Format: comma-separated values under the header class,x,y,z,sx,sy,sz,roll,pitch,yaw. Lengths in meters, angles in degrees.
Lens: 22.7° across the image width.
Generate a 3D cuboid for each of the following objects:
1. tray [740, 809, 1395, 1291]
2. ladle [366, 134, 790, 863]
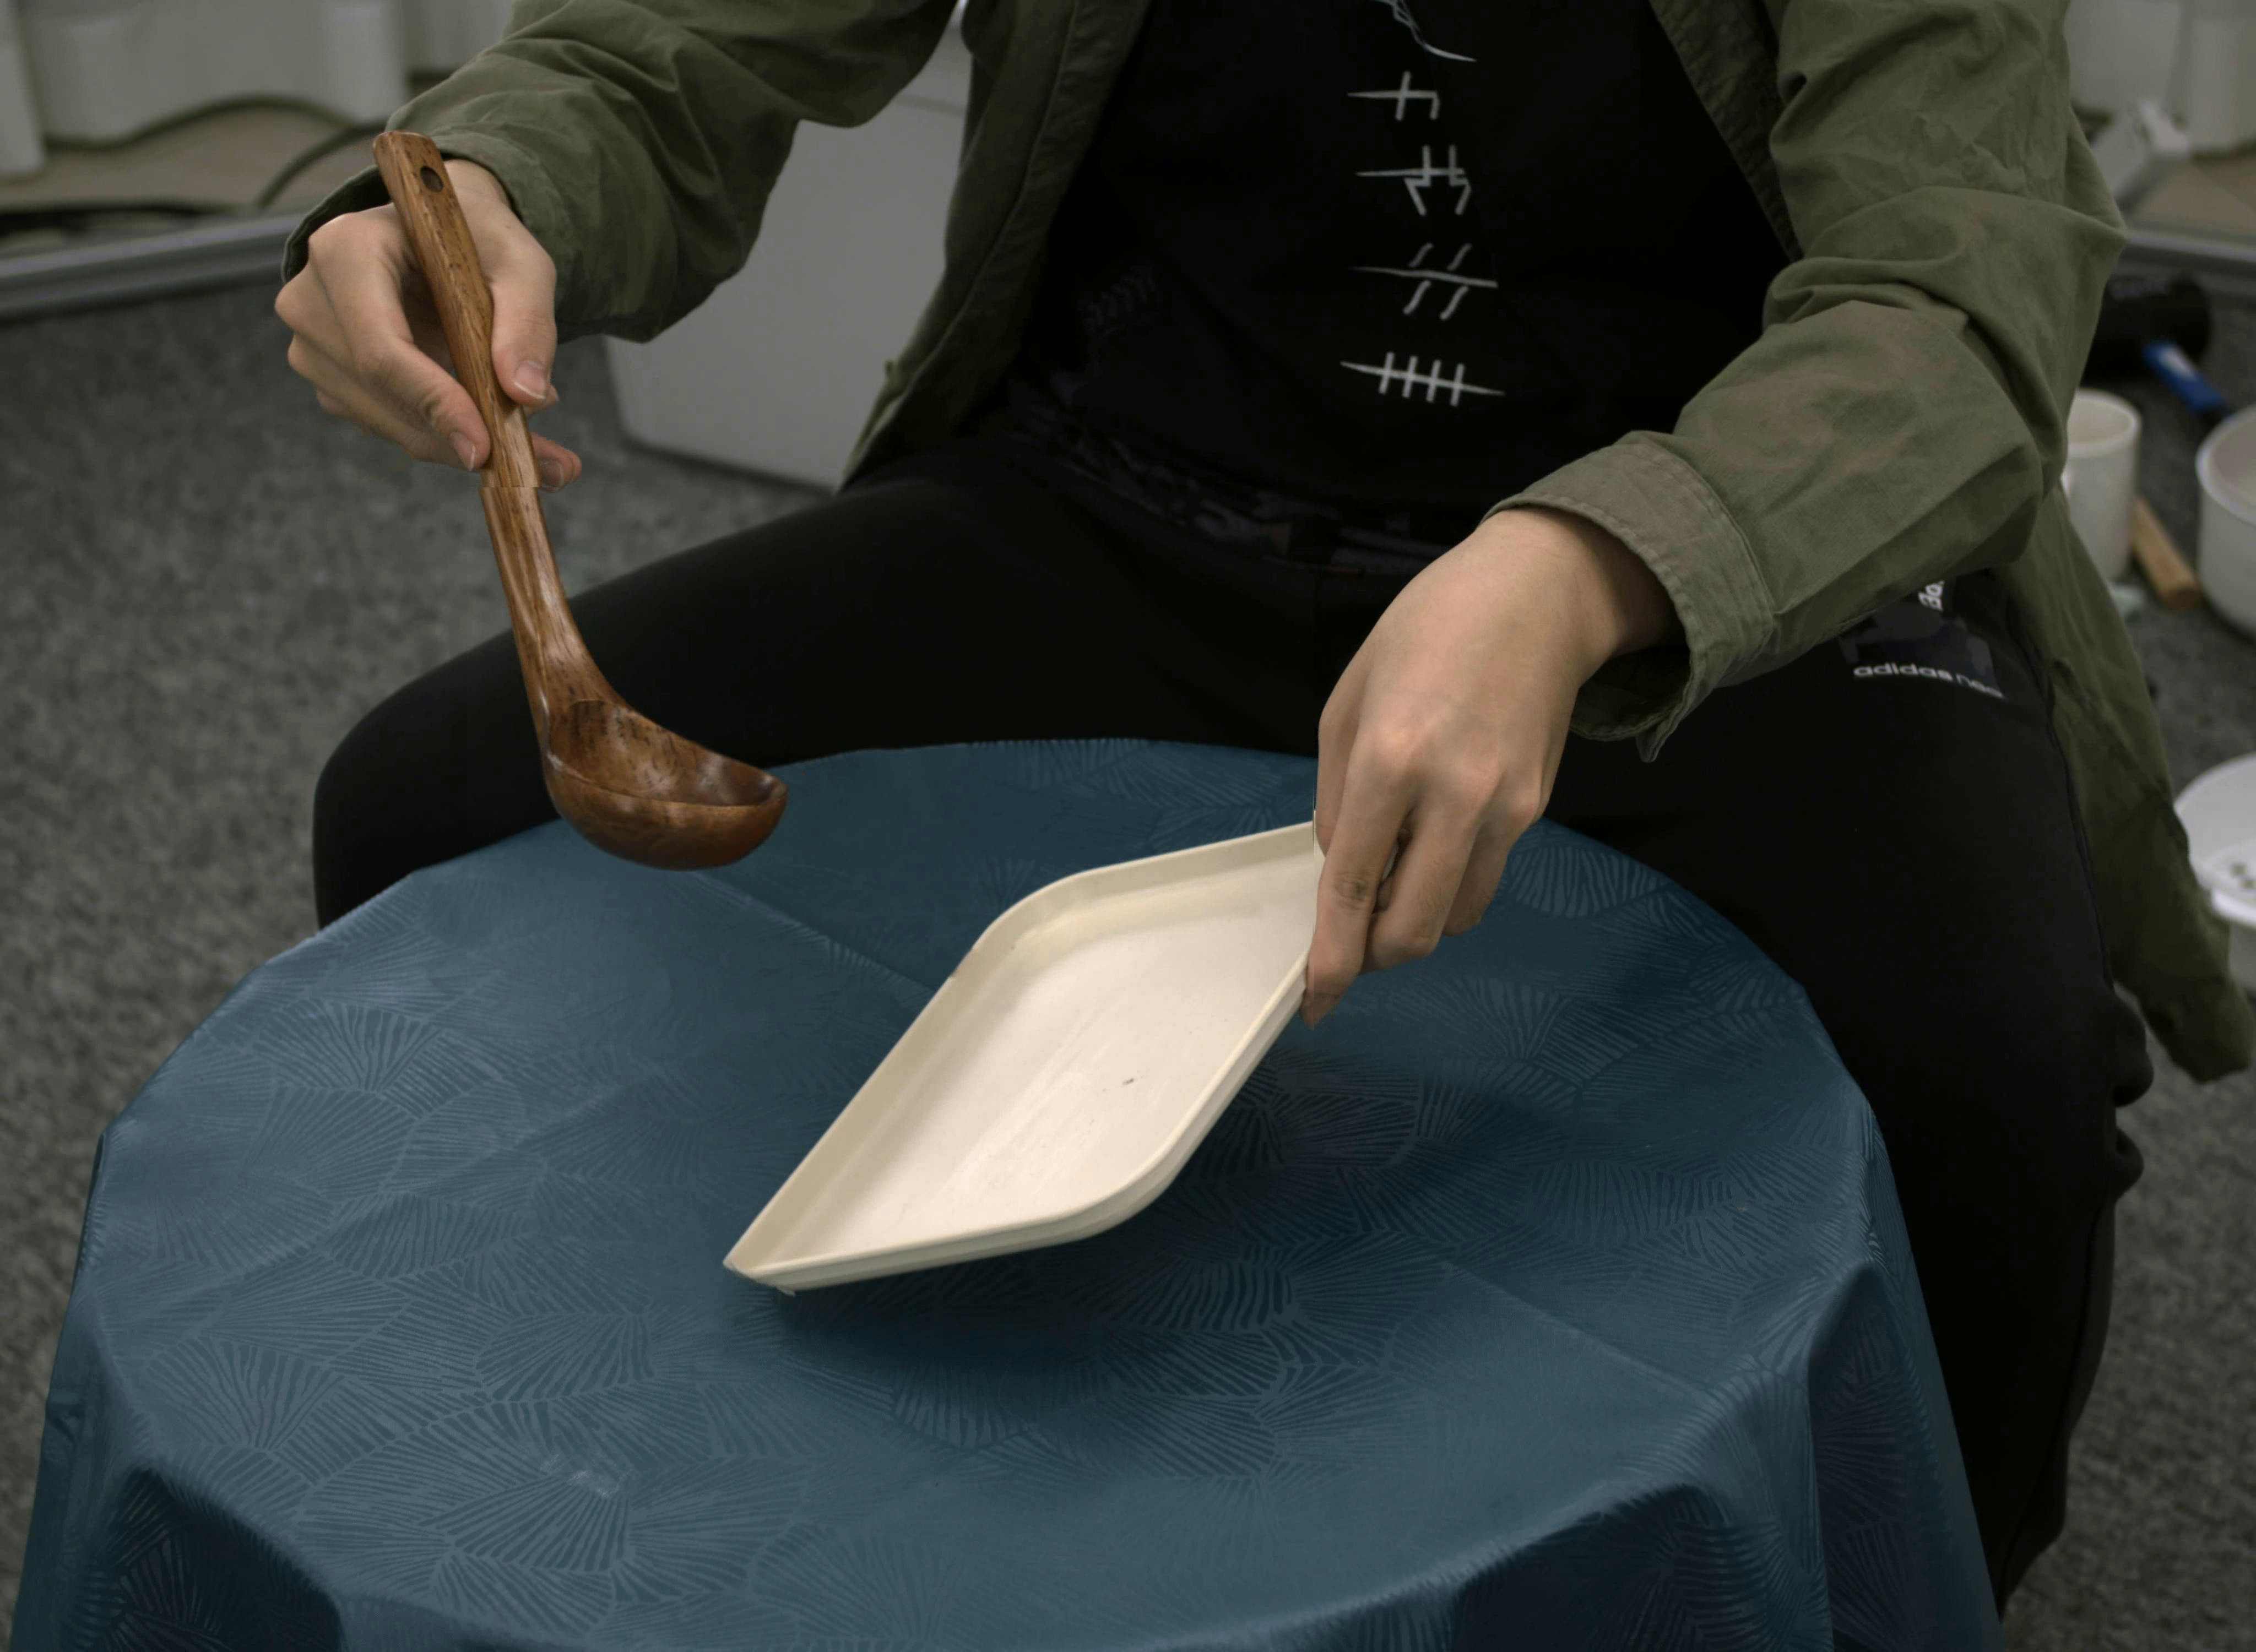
class,x,y,z,sx,sy,sz,roll,pitch,yaw
tray,-0.016,0.074,1.836,0.169,0.017,0.244,-13,24,34
ladle,-0.183,-0.113,1.846,0.075,0.276,0.082,-24,-13,29
